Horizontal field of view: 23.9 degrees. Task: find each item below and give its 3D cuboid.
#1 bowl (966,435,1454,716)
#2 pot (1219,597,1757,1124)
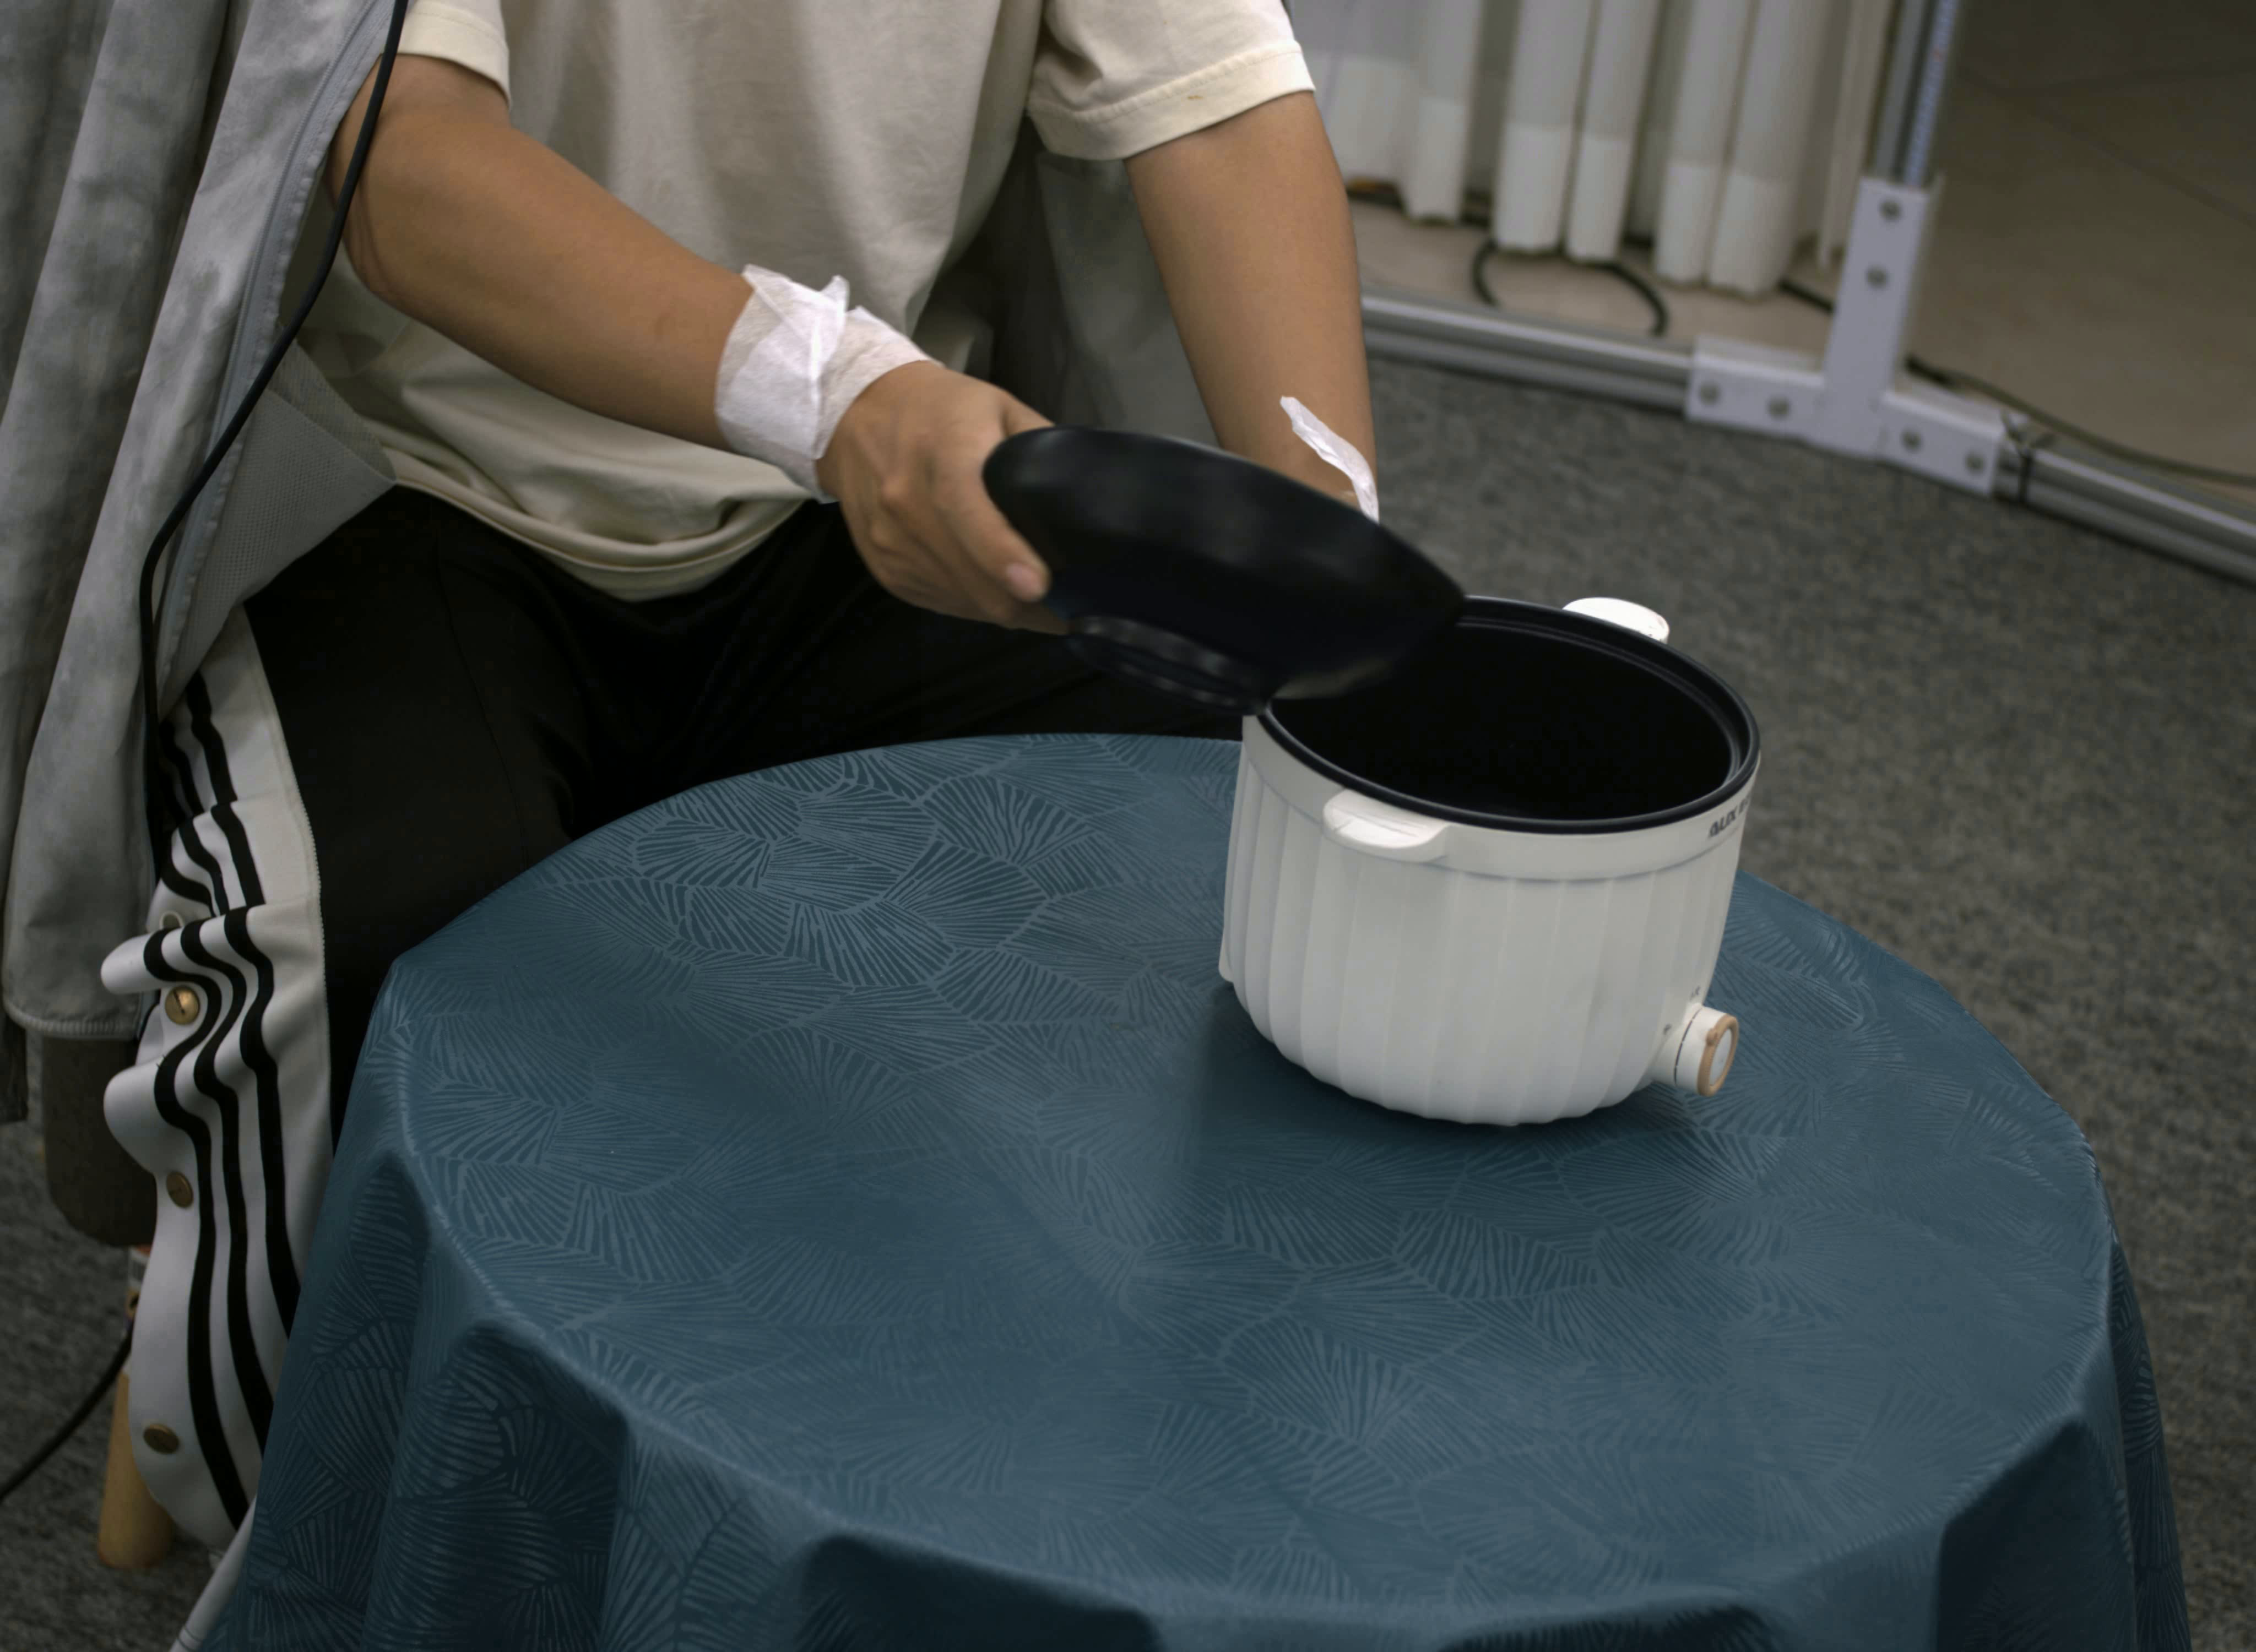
[{"bbox_3d":[0.019,-0.077,1.752,0.171,0.067,0.136,17,-9,17],"label":"bowl"},{"bbox_3d":[0.129,0.017,1.891,0.191,0.142,0.240,15,28,23],"label":"pot"}]
